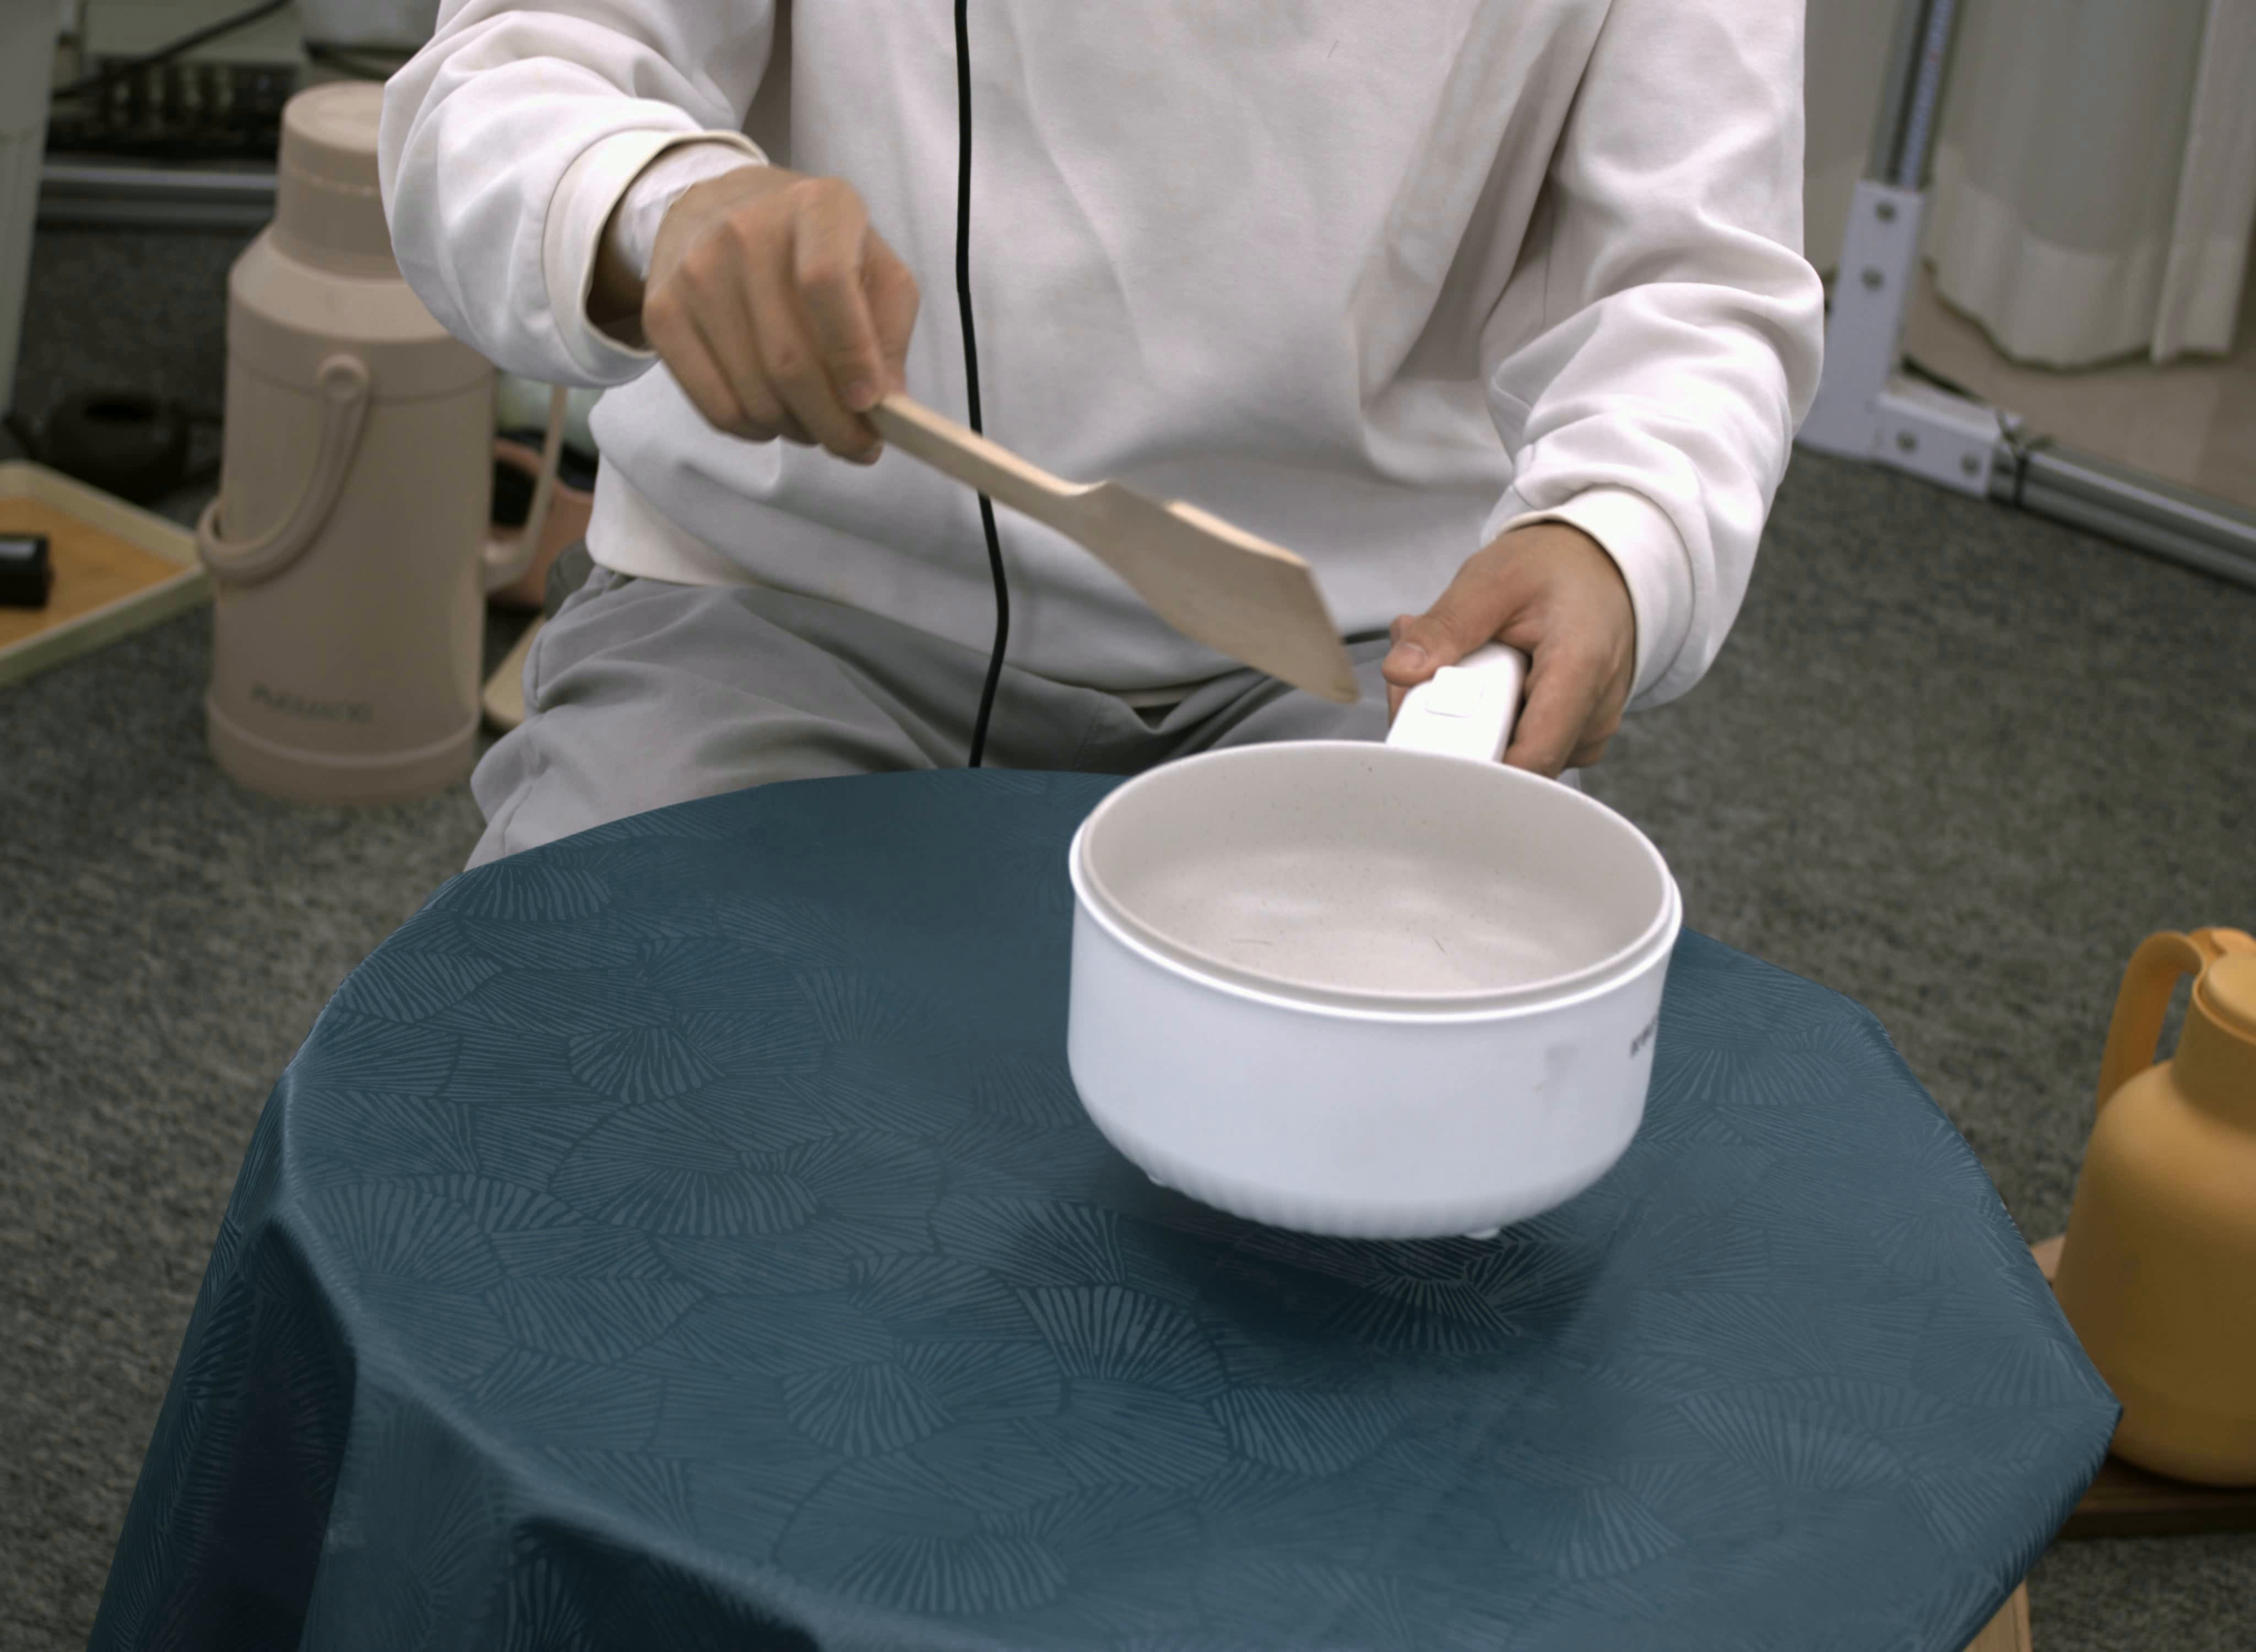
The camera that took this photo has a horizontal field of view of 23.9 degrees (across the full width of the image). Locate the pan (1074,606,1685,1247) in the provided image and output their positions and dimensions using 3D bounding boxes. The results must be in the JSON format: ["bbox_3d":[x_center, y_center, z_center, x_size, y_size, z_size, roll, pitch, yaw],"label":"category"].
[{"bbox_3d":[0.097,0.030,1.829,0.201,0.102,0.355,8,24,11],"label":"pan"}]

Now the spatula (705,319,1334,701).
[{"bbox_3d":[-0.045,-0.114,1.748,0.295,0.071,0.010,29,68,40],"label":"spatula"}]
